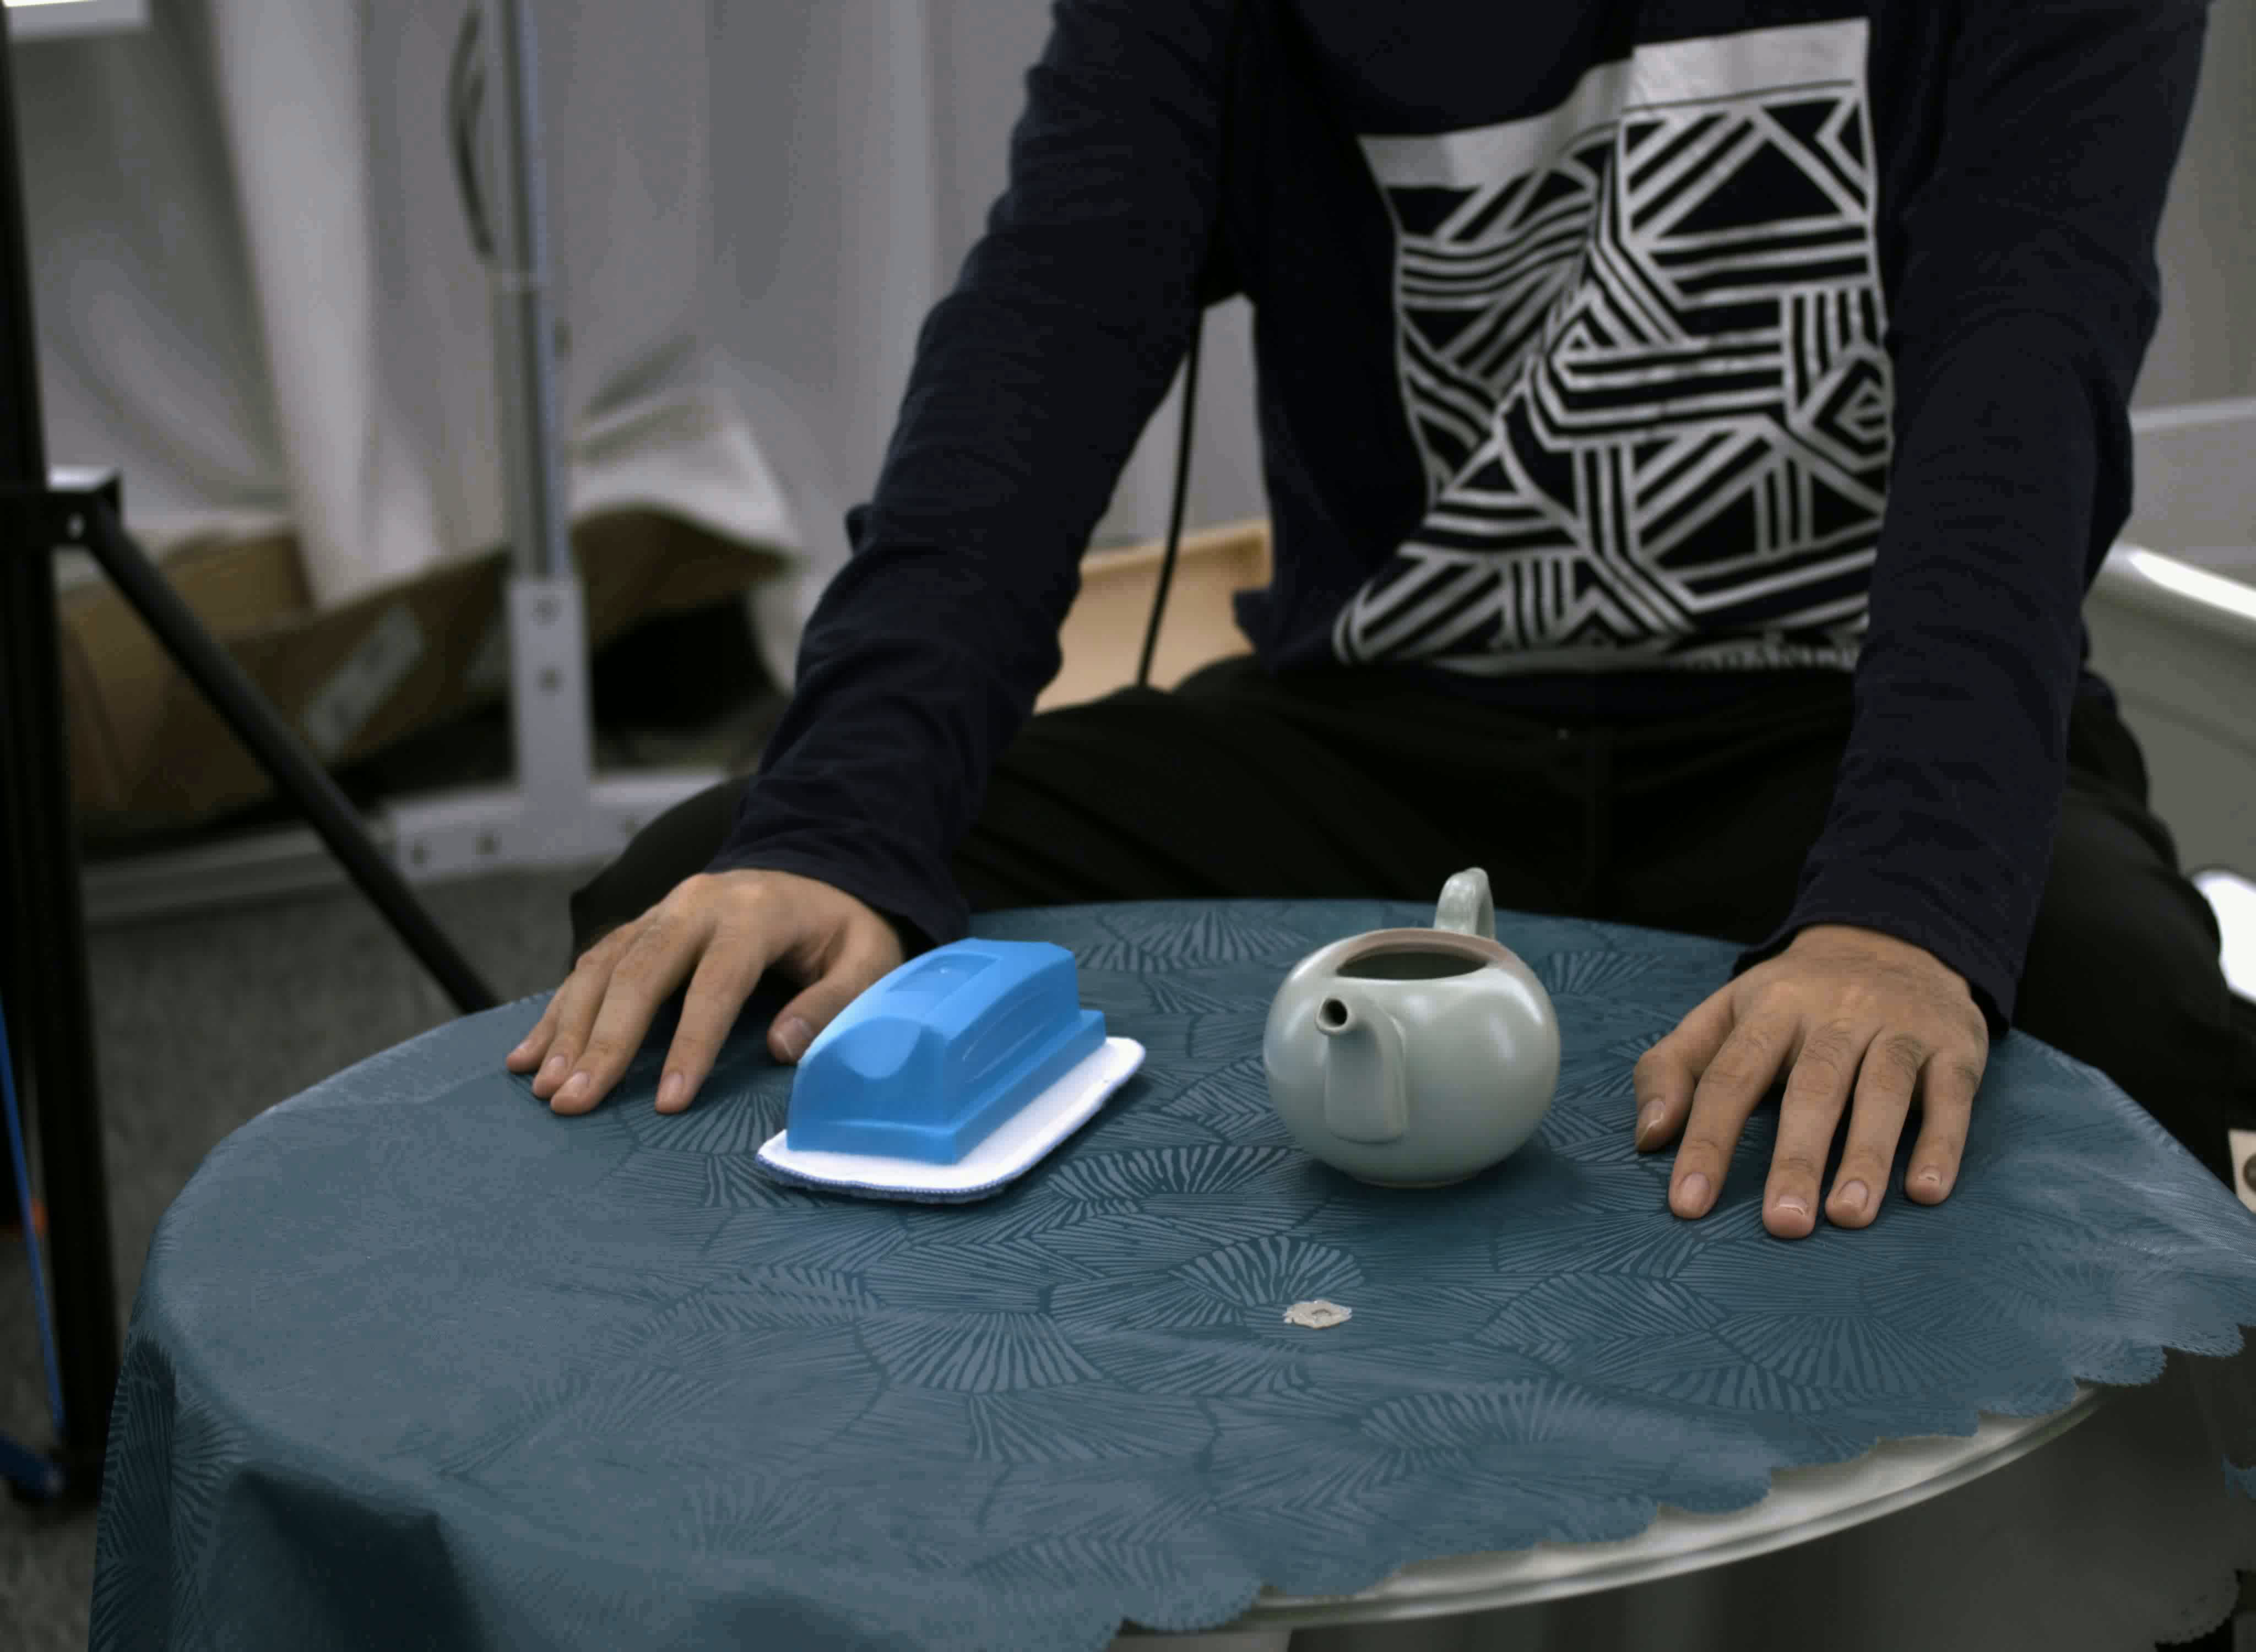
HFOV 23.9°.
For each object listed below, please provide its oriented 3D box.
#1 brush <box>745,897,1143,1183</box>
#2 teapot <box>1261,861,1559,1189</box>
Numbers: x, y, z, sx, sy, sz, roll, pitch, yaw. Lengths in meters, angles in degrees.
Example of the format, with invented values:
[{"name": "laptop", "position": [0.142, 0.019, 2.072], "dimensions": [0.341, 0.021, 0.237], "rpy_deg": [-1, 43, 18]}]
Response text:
[{"name": "brush", "position": [-0.054, 0.061, 1.621], "dimensions": [0.085, 0.056, 0.142], "rpy_deg": [8, 21, 23]}, {"name": "teapot", "position": [0.083, 0.066, 1.564], "dimensions": [0.089, 0.074, 0.142], "rpy_deg": [5, 20, 24]}]
